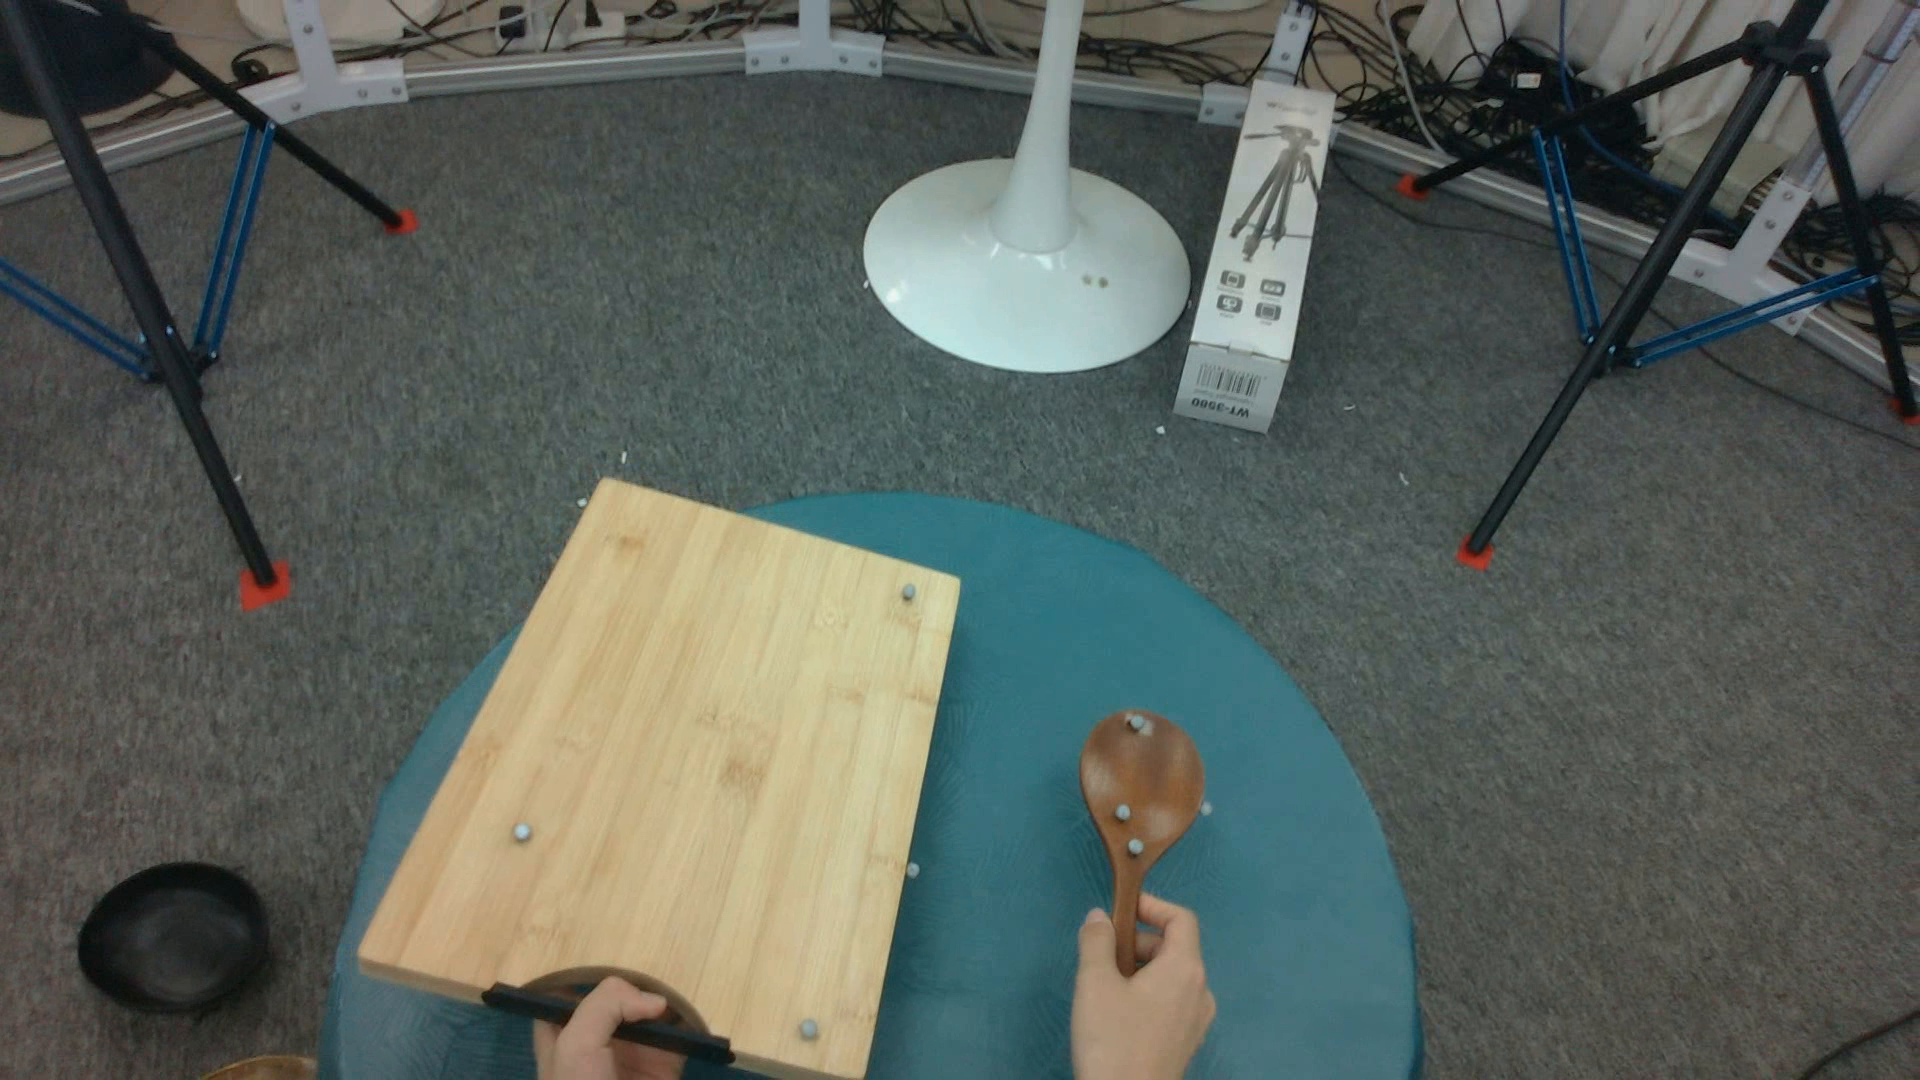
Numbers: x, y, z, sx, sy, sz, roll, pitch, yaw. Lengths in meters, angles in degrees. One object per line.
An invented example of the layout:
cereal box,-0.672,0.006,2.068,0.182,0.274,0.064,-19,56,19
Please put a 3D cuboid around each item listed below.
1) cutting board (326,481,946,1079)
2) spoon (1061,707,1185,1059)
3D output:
cutting board,-0.149,0.114,0.763,0.251,0.023,0.350,15,42,-5
spoon,0.082,0.179,0.748,0.075,0.017,0.217,17,44,-2
